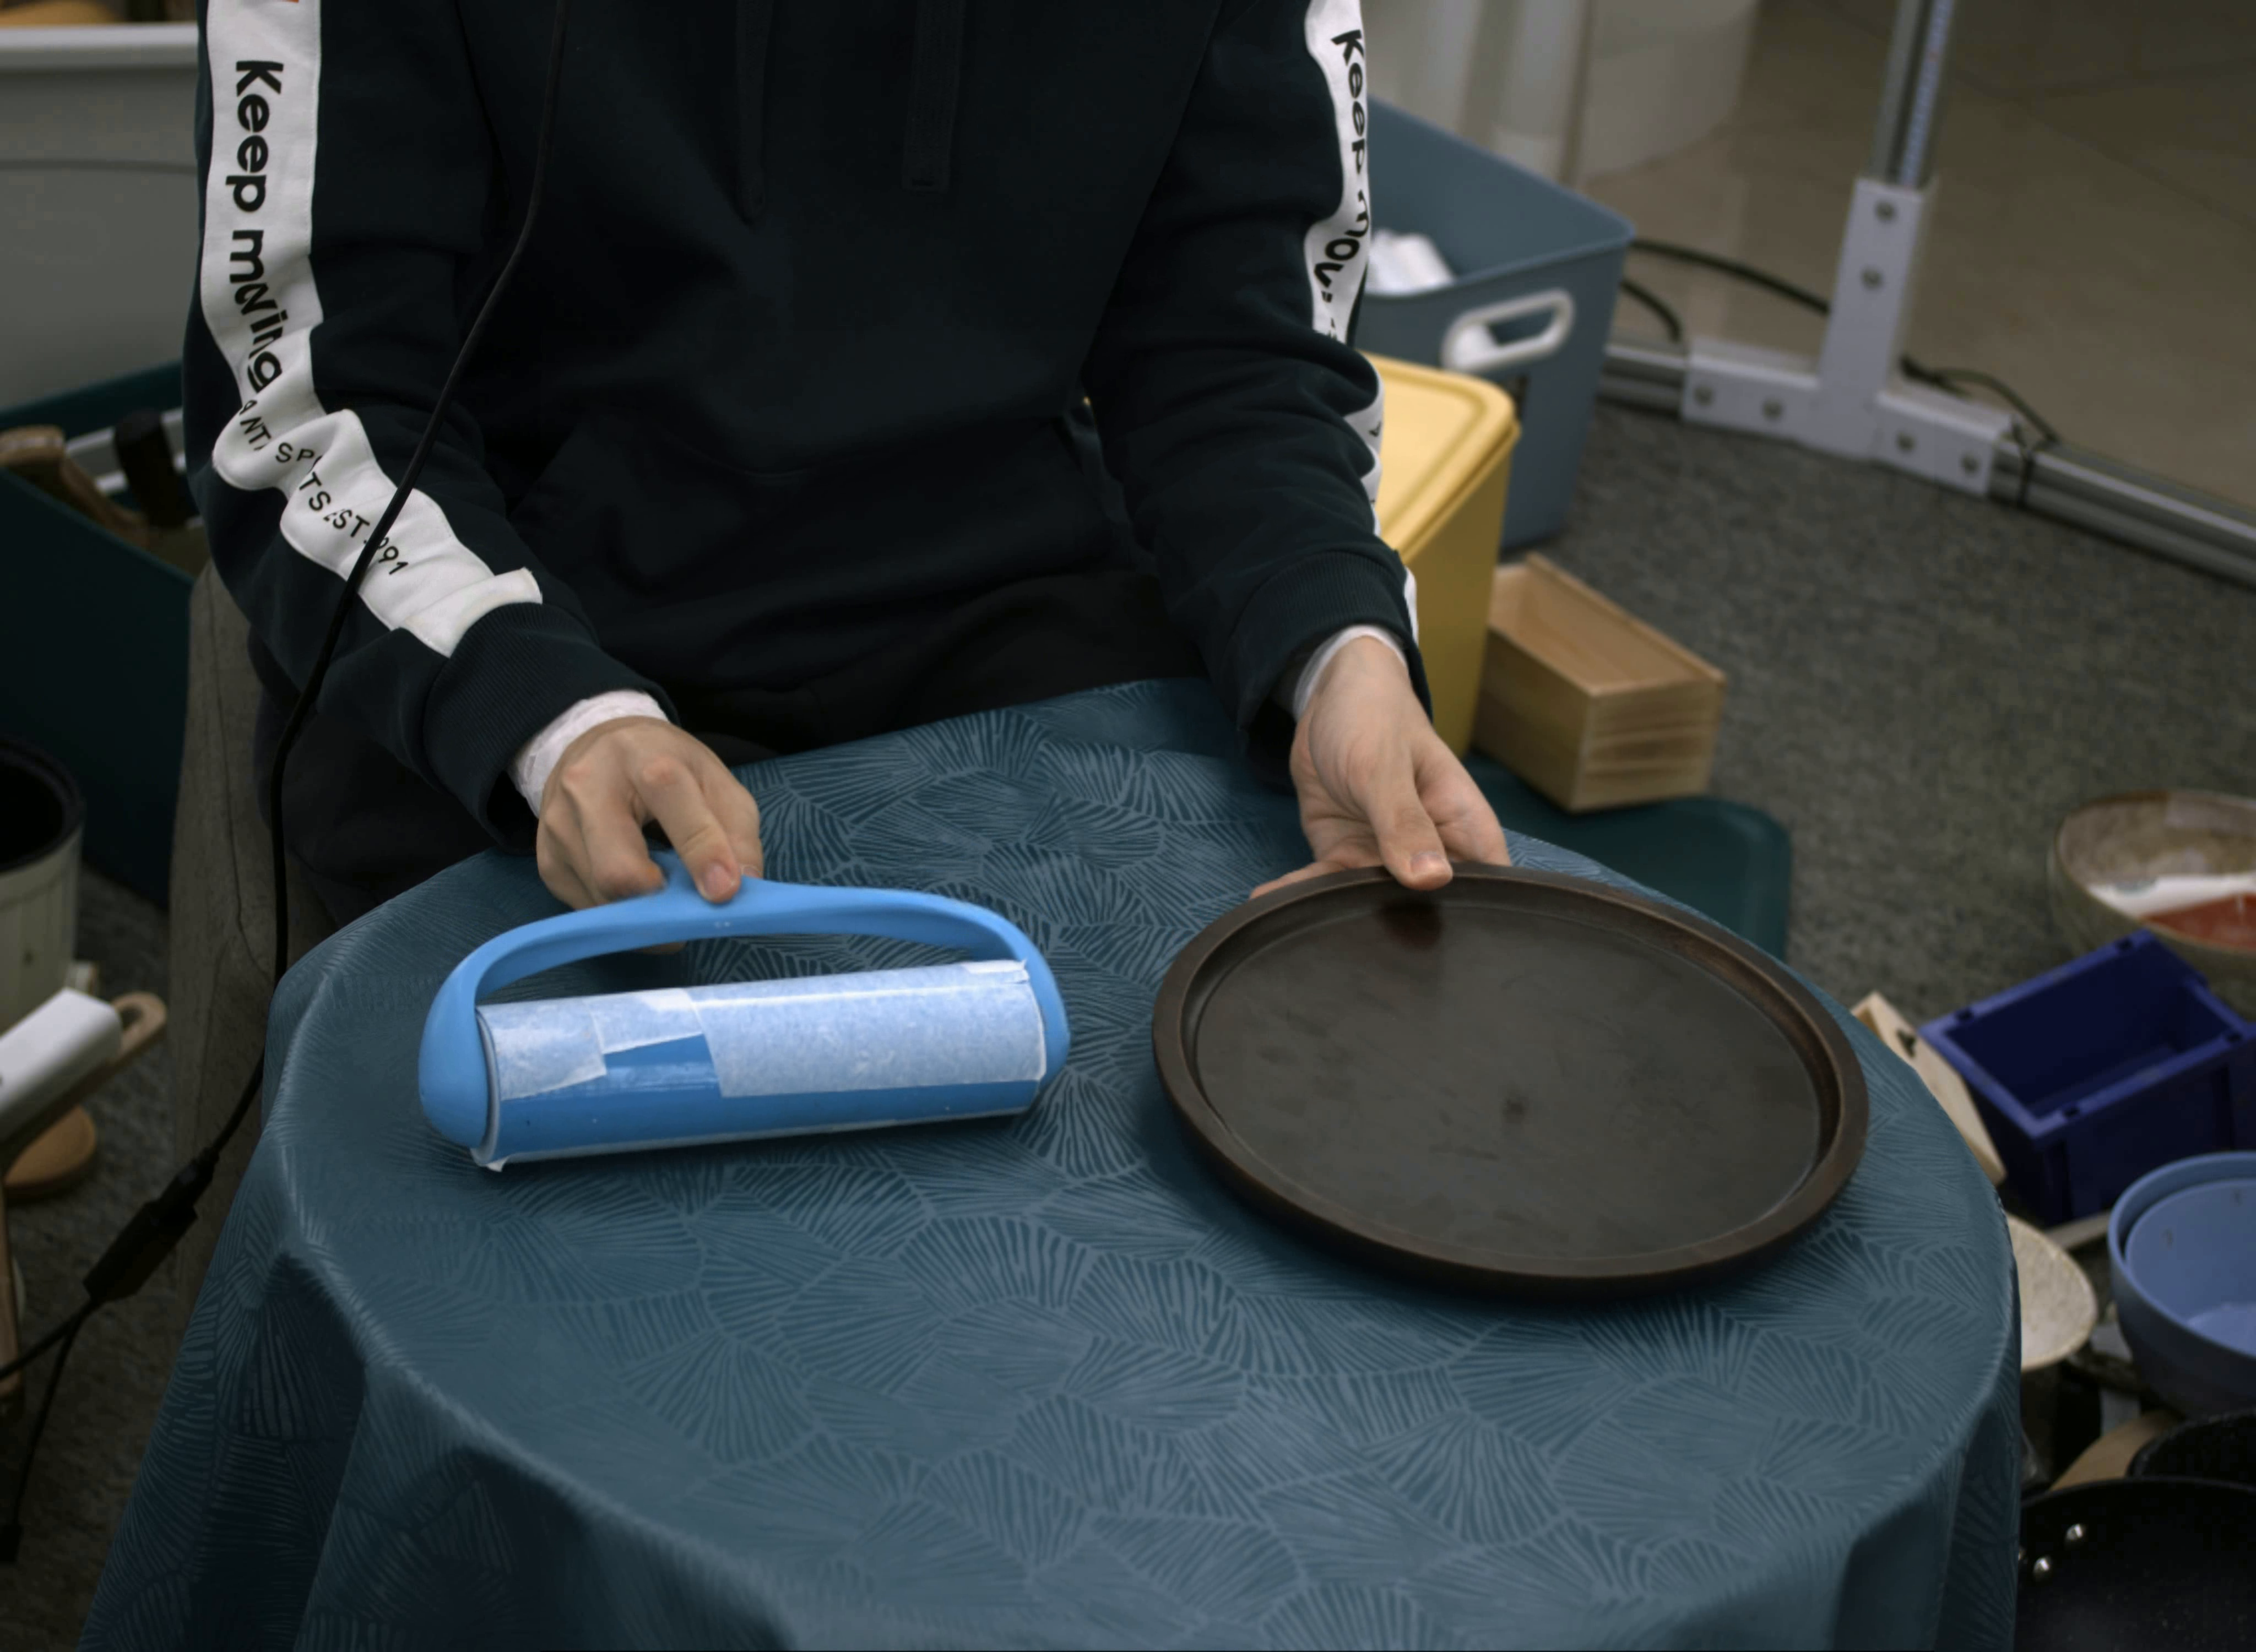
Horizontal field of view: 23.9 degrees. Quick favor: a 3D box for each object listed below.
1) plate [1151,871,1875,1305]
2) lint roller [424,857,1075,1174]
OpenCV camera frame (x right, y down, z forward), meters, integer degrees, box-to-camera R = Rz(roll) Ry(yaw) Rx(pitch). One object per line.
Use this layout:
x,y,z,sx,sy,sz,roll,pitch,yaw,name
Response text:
0.133,0.089,1.853,0.254,0.029,0.256,5,31,-3,plate
-0.148,0.048,1.841,0.227,0.067,0.182,-7,35,-22,lint roller
